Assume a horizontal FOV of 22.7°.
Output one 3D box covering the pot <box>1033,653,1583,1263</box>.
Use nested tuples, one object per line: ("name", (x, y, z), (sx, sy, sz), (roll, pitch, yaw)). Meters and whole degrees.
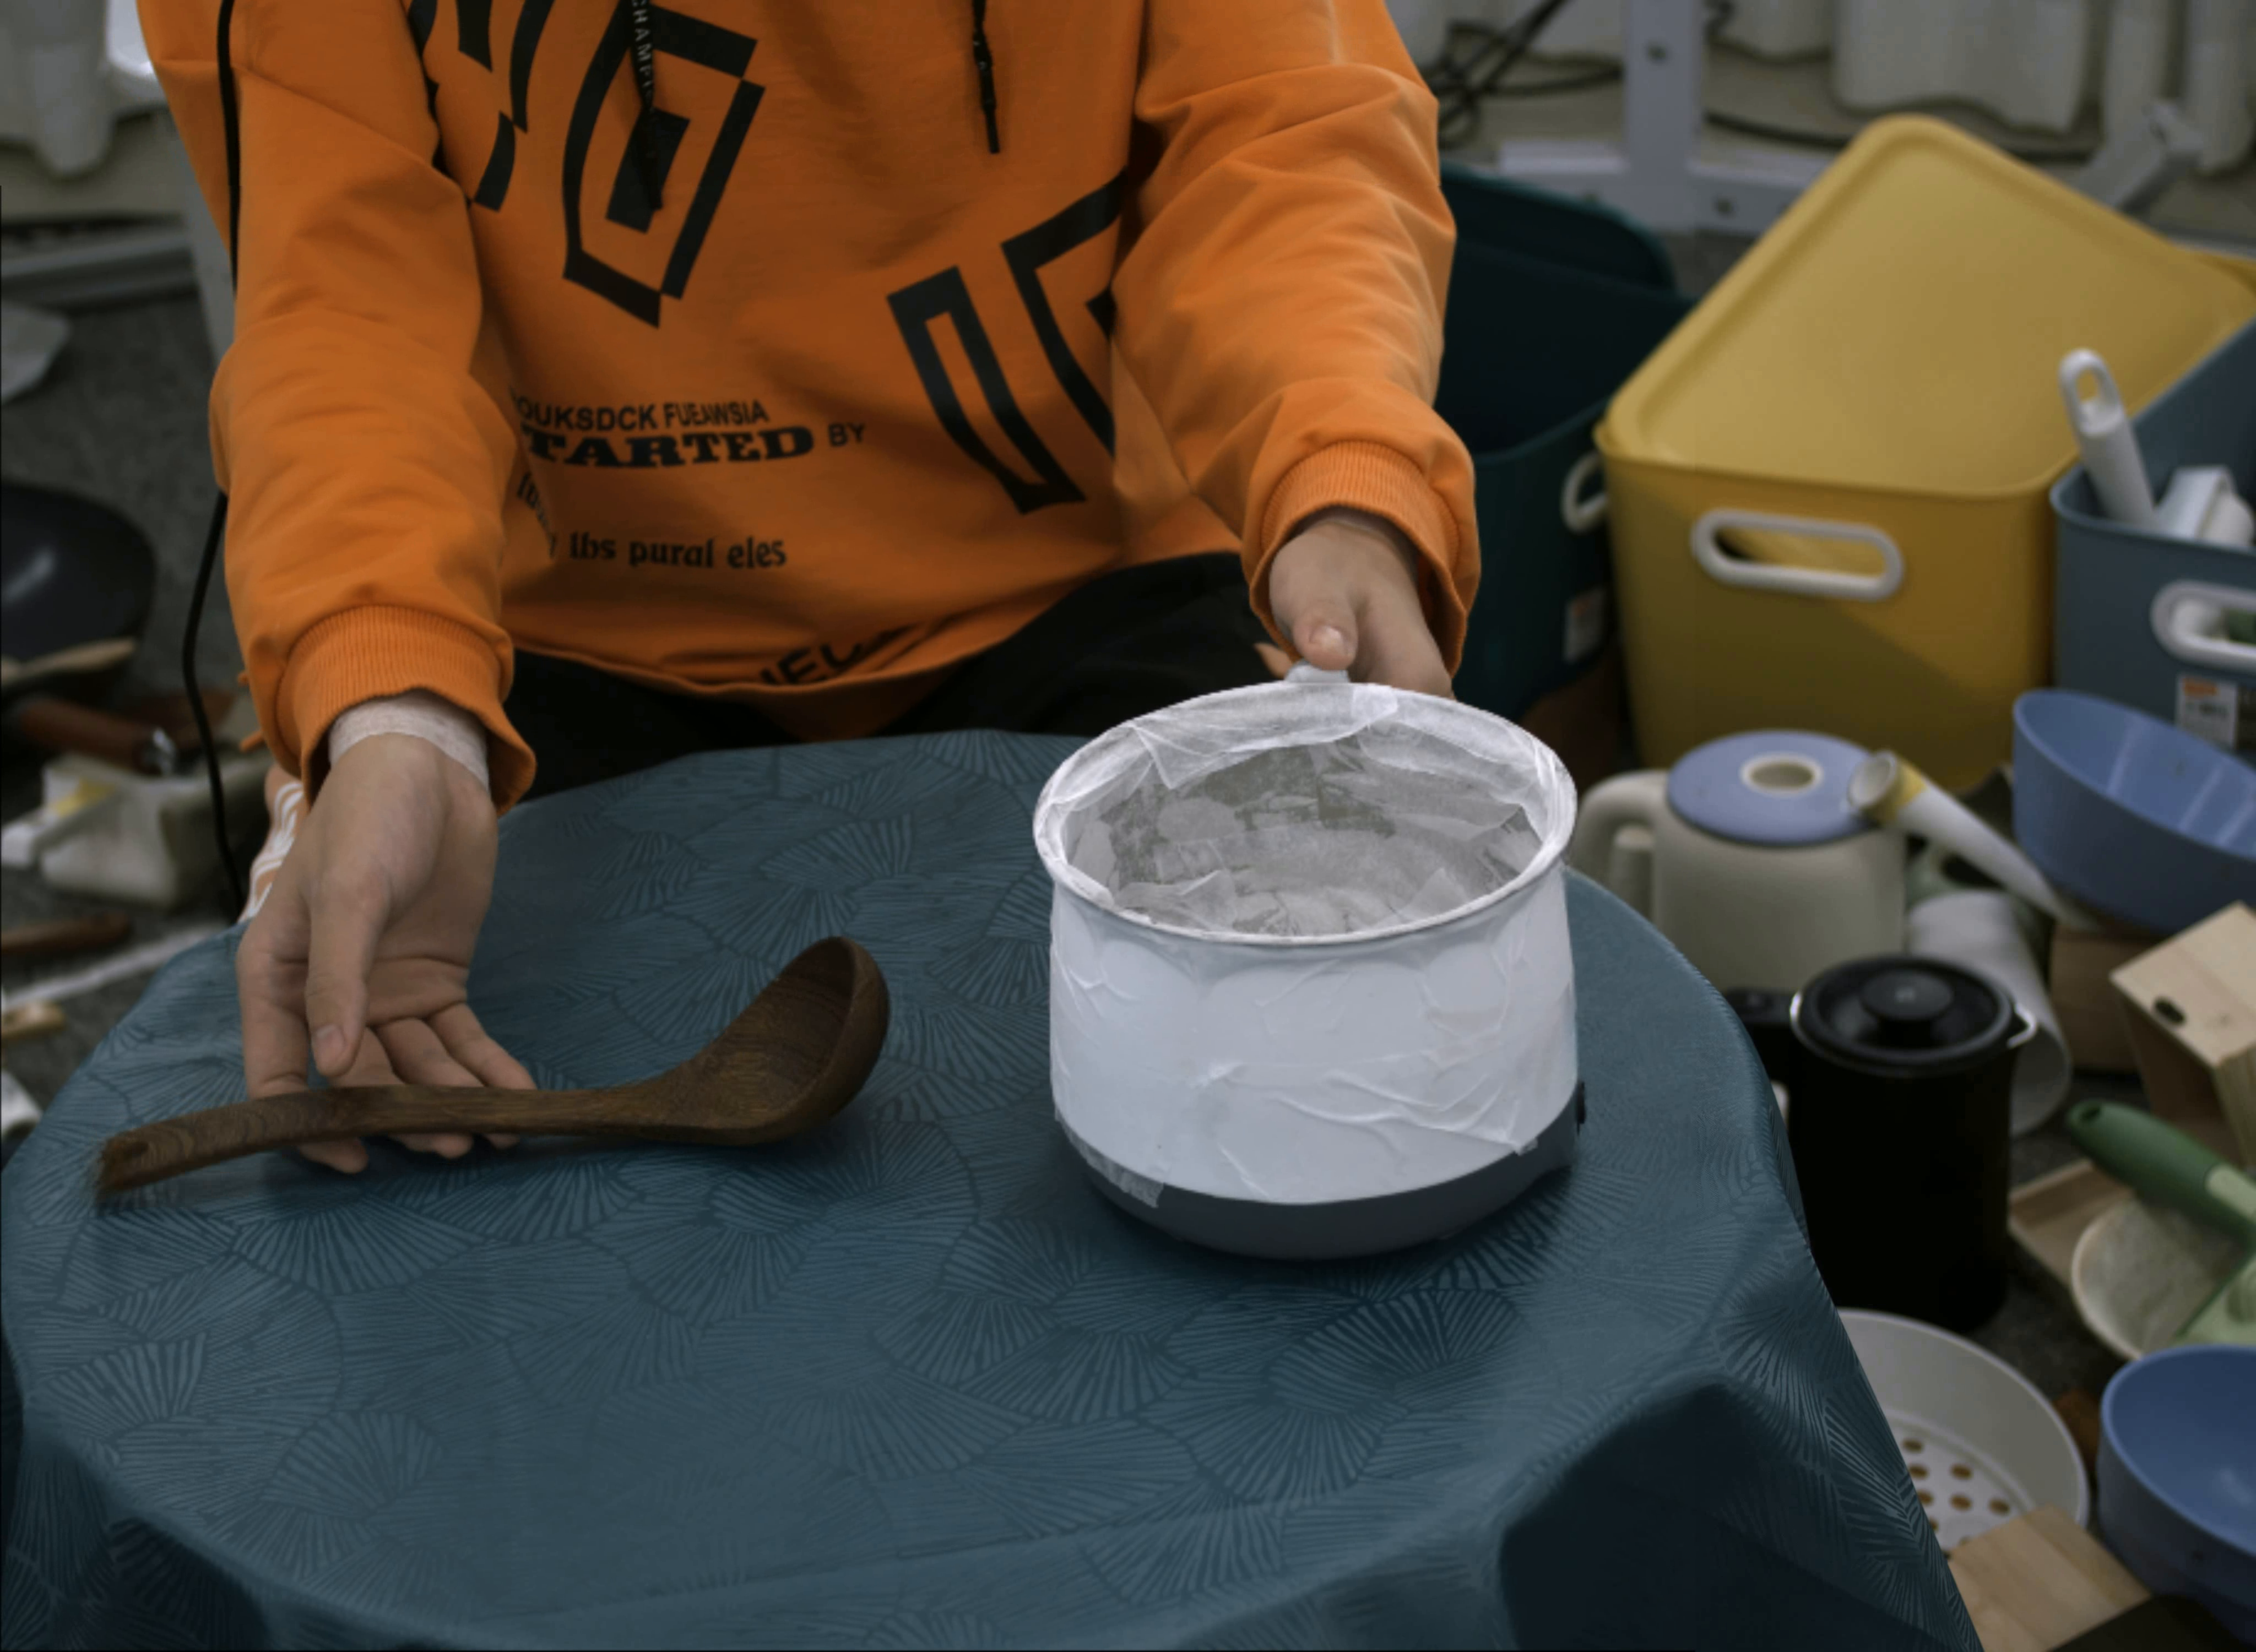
("pot", (0.061, 0.036, 1.873), (0.178, 0.135, 0.237), (-1, 28, 3))

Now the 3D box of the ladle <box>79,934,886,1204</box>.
("ladle", (-0.217, 0.083, 1.882), (0.273, 0.070, 0.077), (-5, 32, -6))
